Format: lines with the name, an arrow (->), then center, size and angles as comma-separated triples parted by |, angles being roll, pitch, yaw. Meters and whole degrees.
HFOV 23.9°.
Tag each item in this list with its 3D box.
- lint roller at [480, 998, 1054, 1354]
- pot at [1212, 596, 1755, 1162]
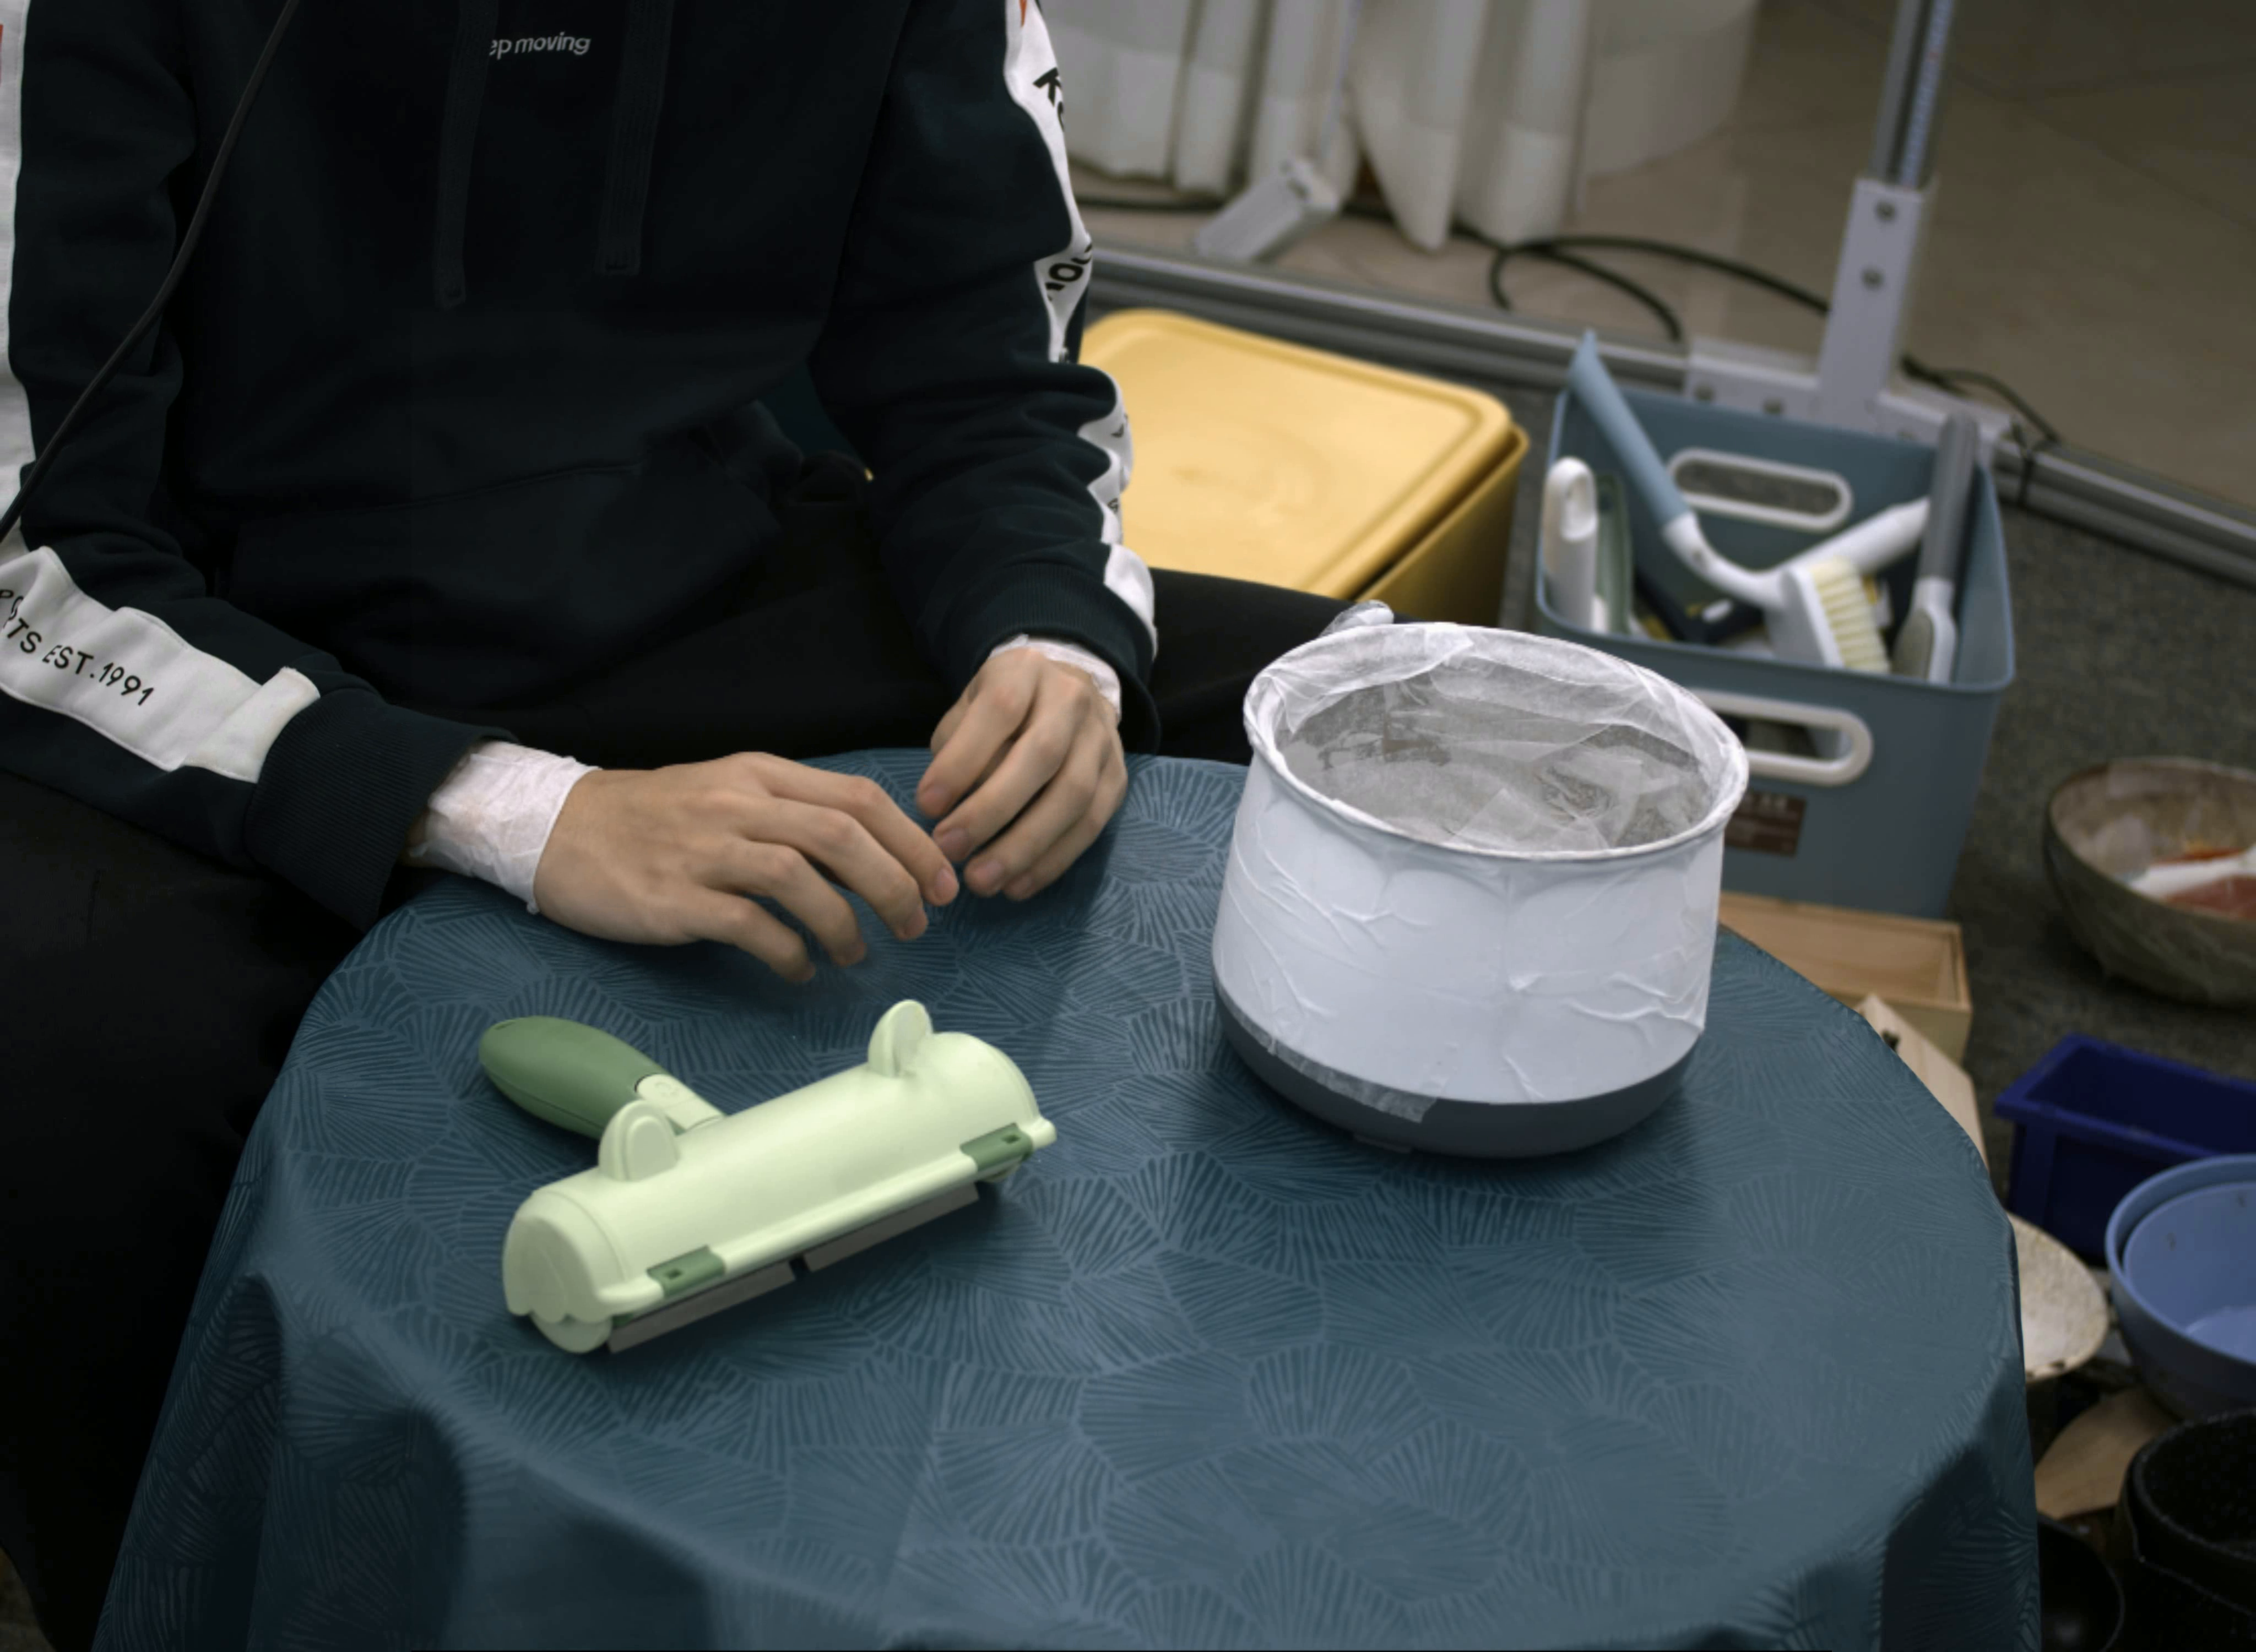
lint roller -> -0.151, 0.086, 1.756 | 0.197, 0.082, 0.185 | -19, 41, -40
pot -> 0.110, 0.012, 1.891 | 0.177, 0.136, 0.236 | -5, 30, -24
